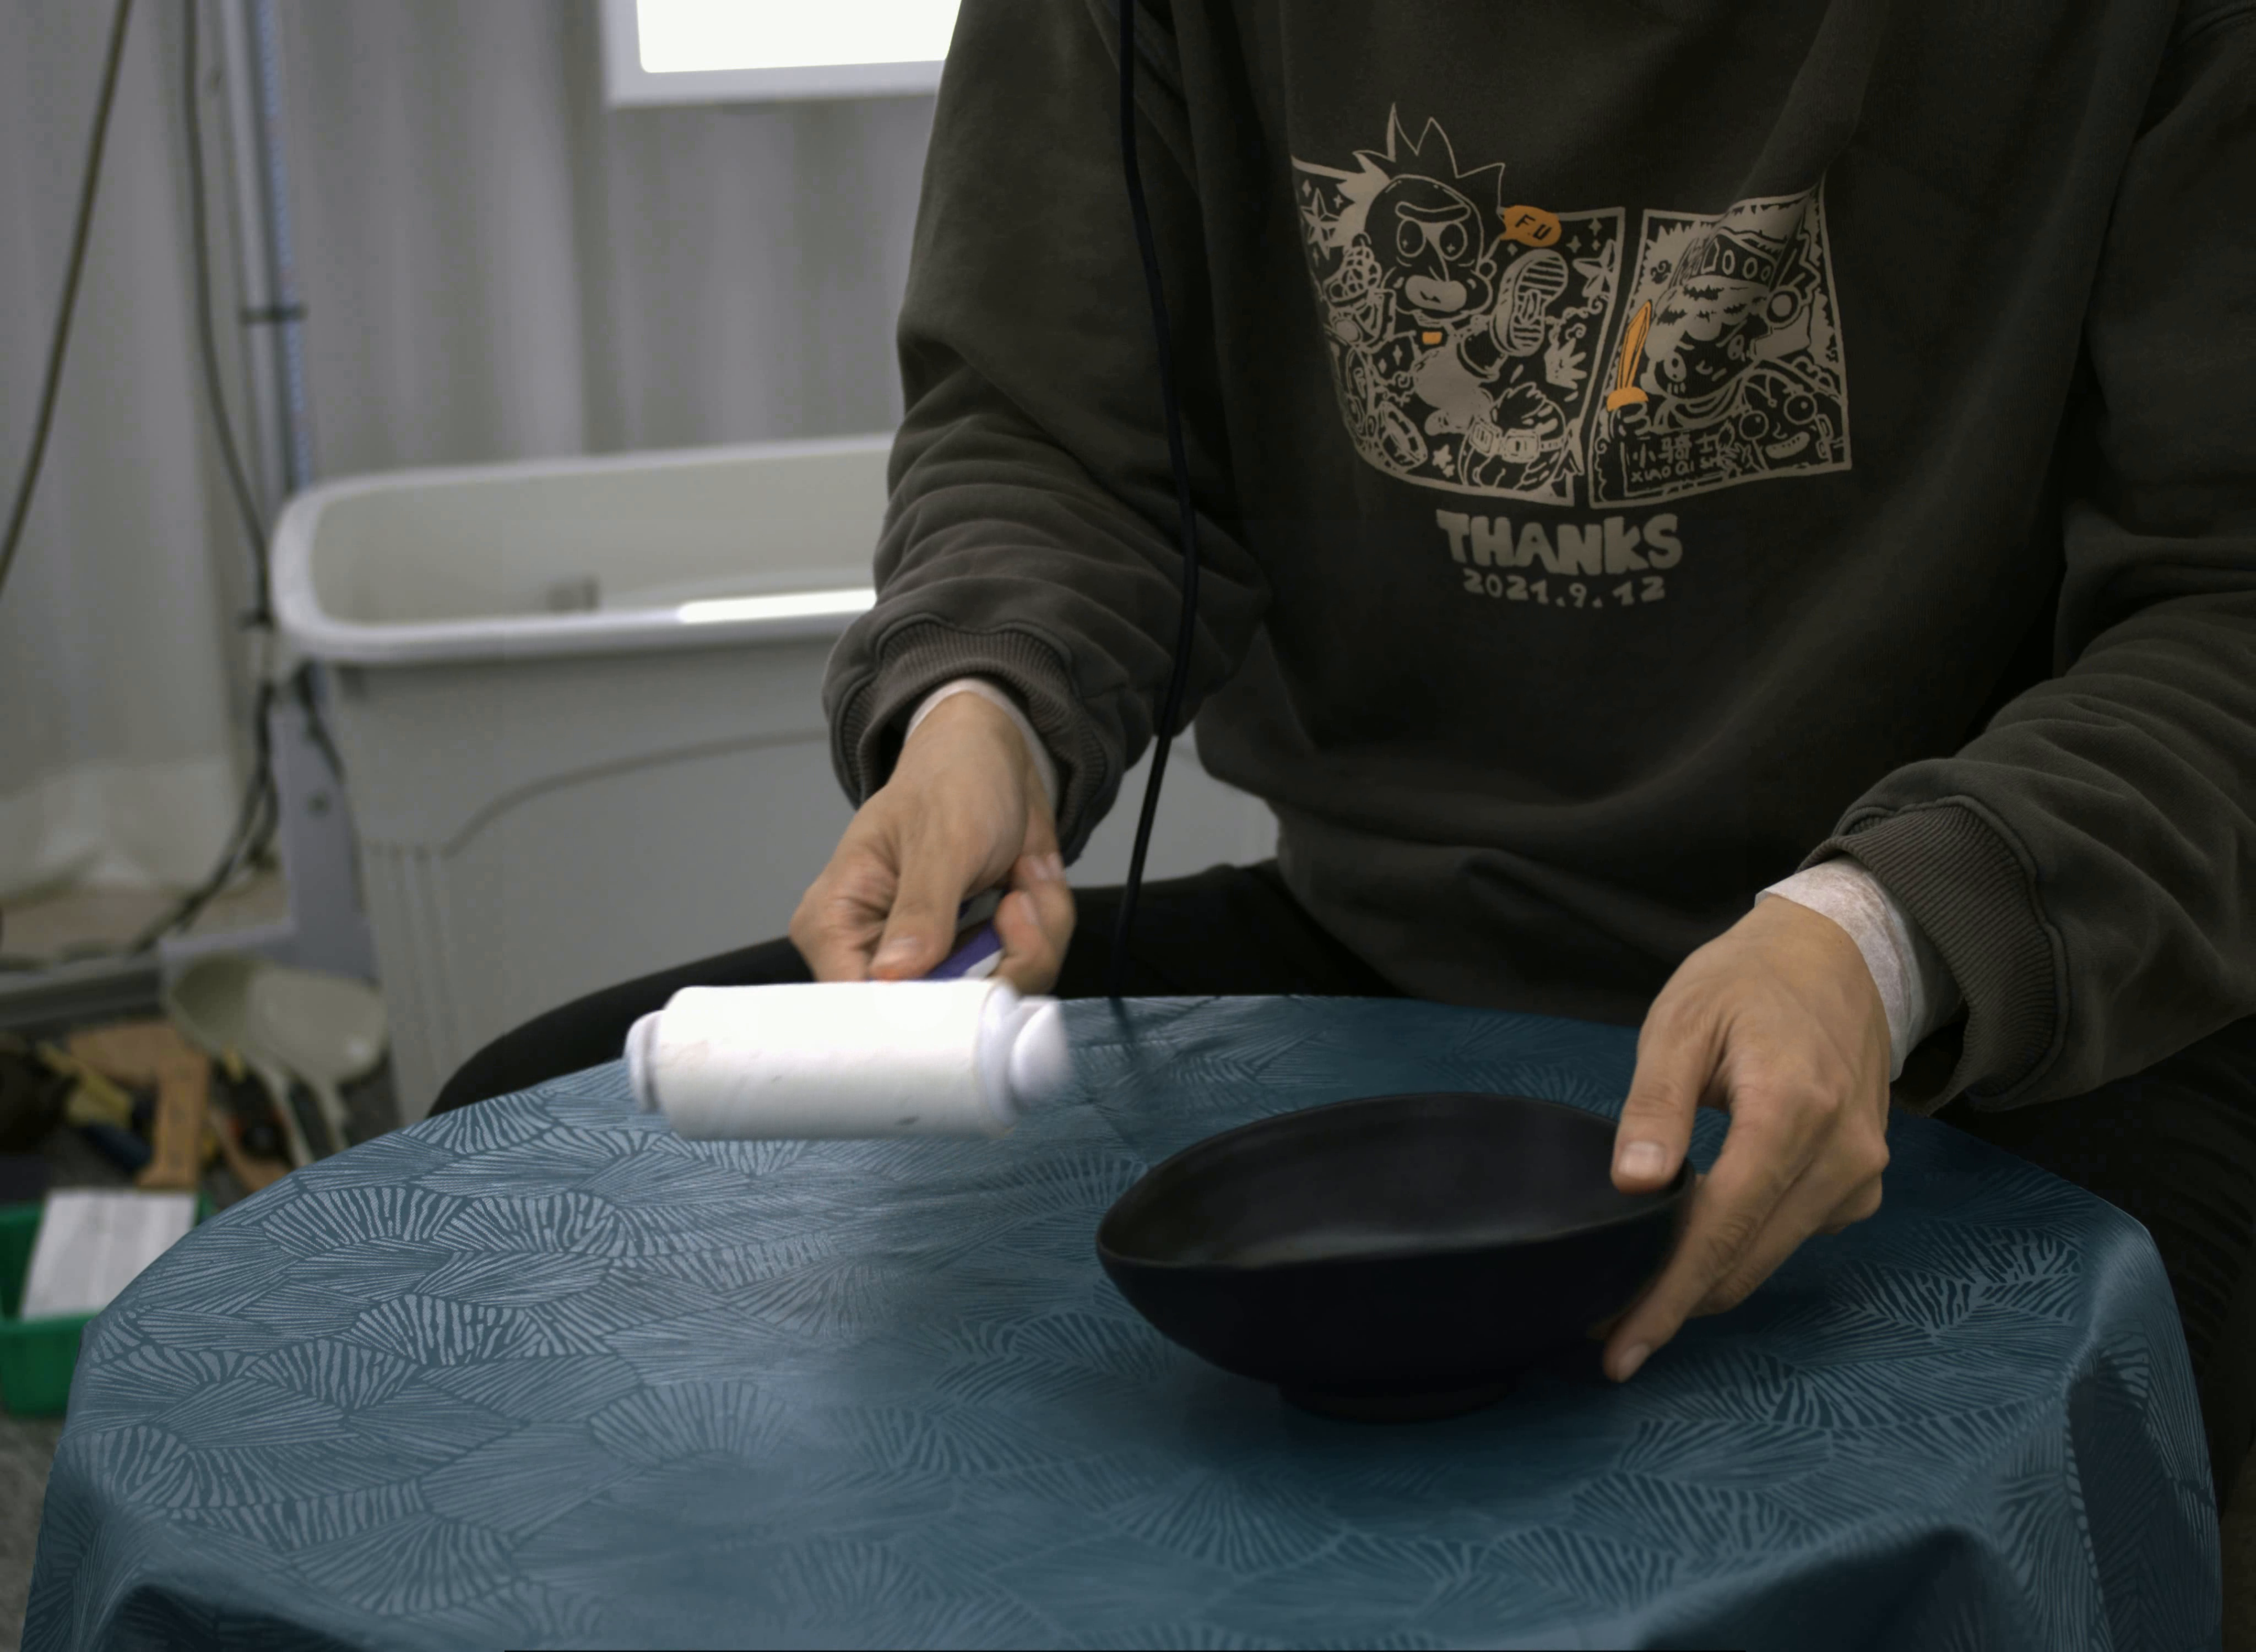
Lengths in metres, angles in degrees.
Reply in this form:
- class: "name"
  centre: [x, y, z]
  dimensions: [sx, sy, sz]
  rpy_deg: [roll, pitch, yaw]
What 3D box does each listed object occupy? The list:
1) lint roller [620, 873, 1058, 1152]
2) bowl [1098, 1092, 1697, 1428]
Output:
- class: "lint roller"
  centre: [-0.066, 0.043, 1.666]
  dimensions: [0.133, 0.050, 0.182]
  rpy_deg: [0, 27, 20]
- class: "bowl"
  centre: [0.078, 0.128, 1.538]
  dimensions: [0.169, 0.066, 0.138]
  rpy_deg: [-6, 14, -6]
